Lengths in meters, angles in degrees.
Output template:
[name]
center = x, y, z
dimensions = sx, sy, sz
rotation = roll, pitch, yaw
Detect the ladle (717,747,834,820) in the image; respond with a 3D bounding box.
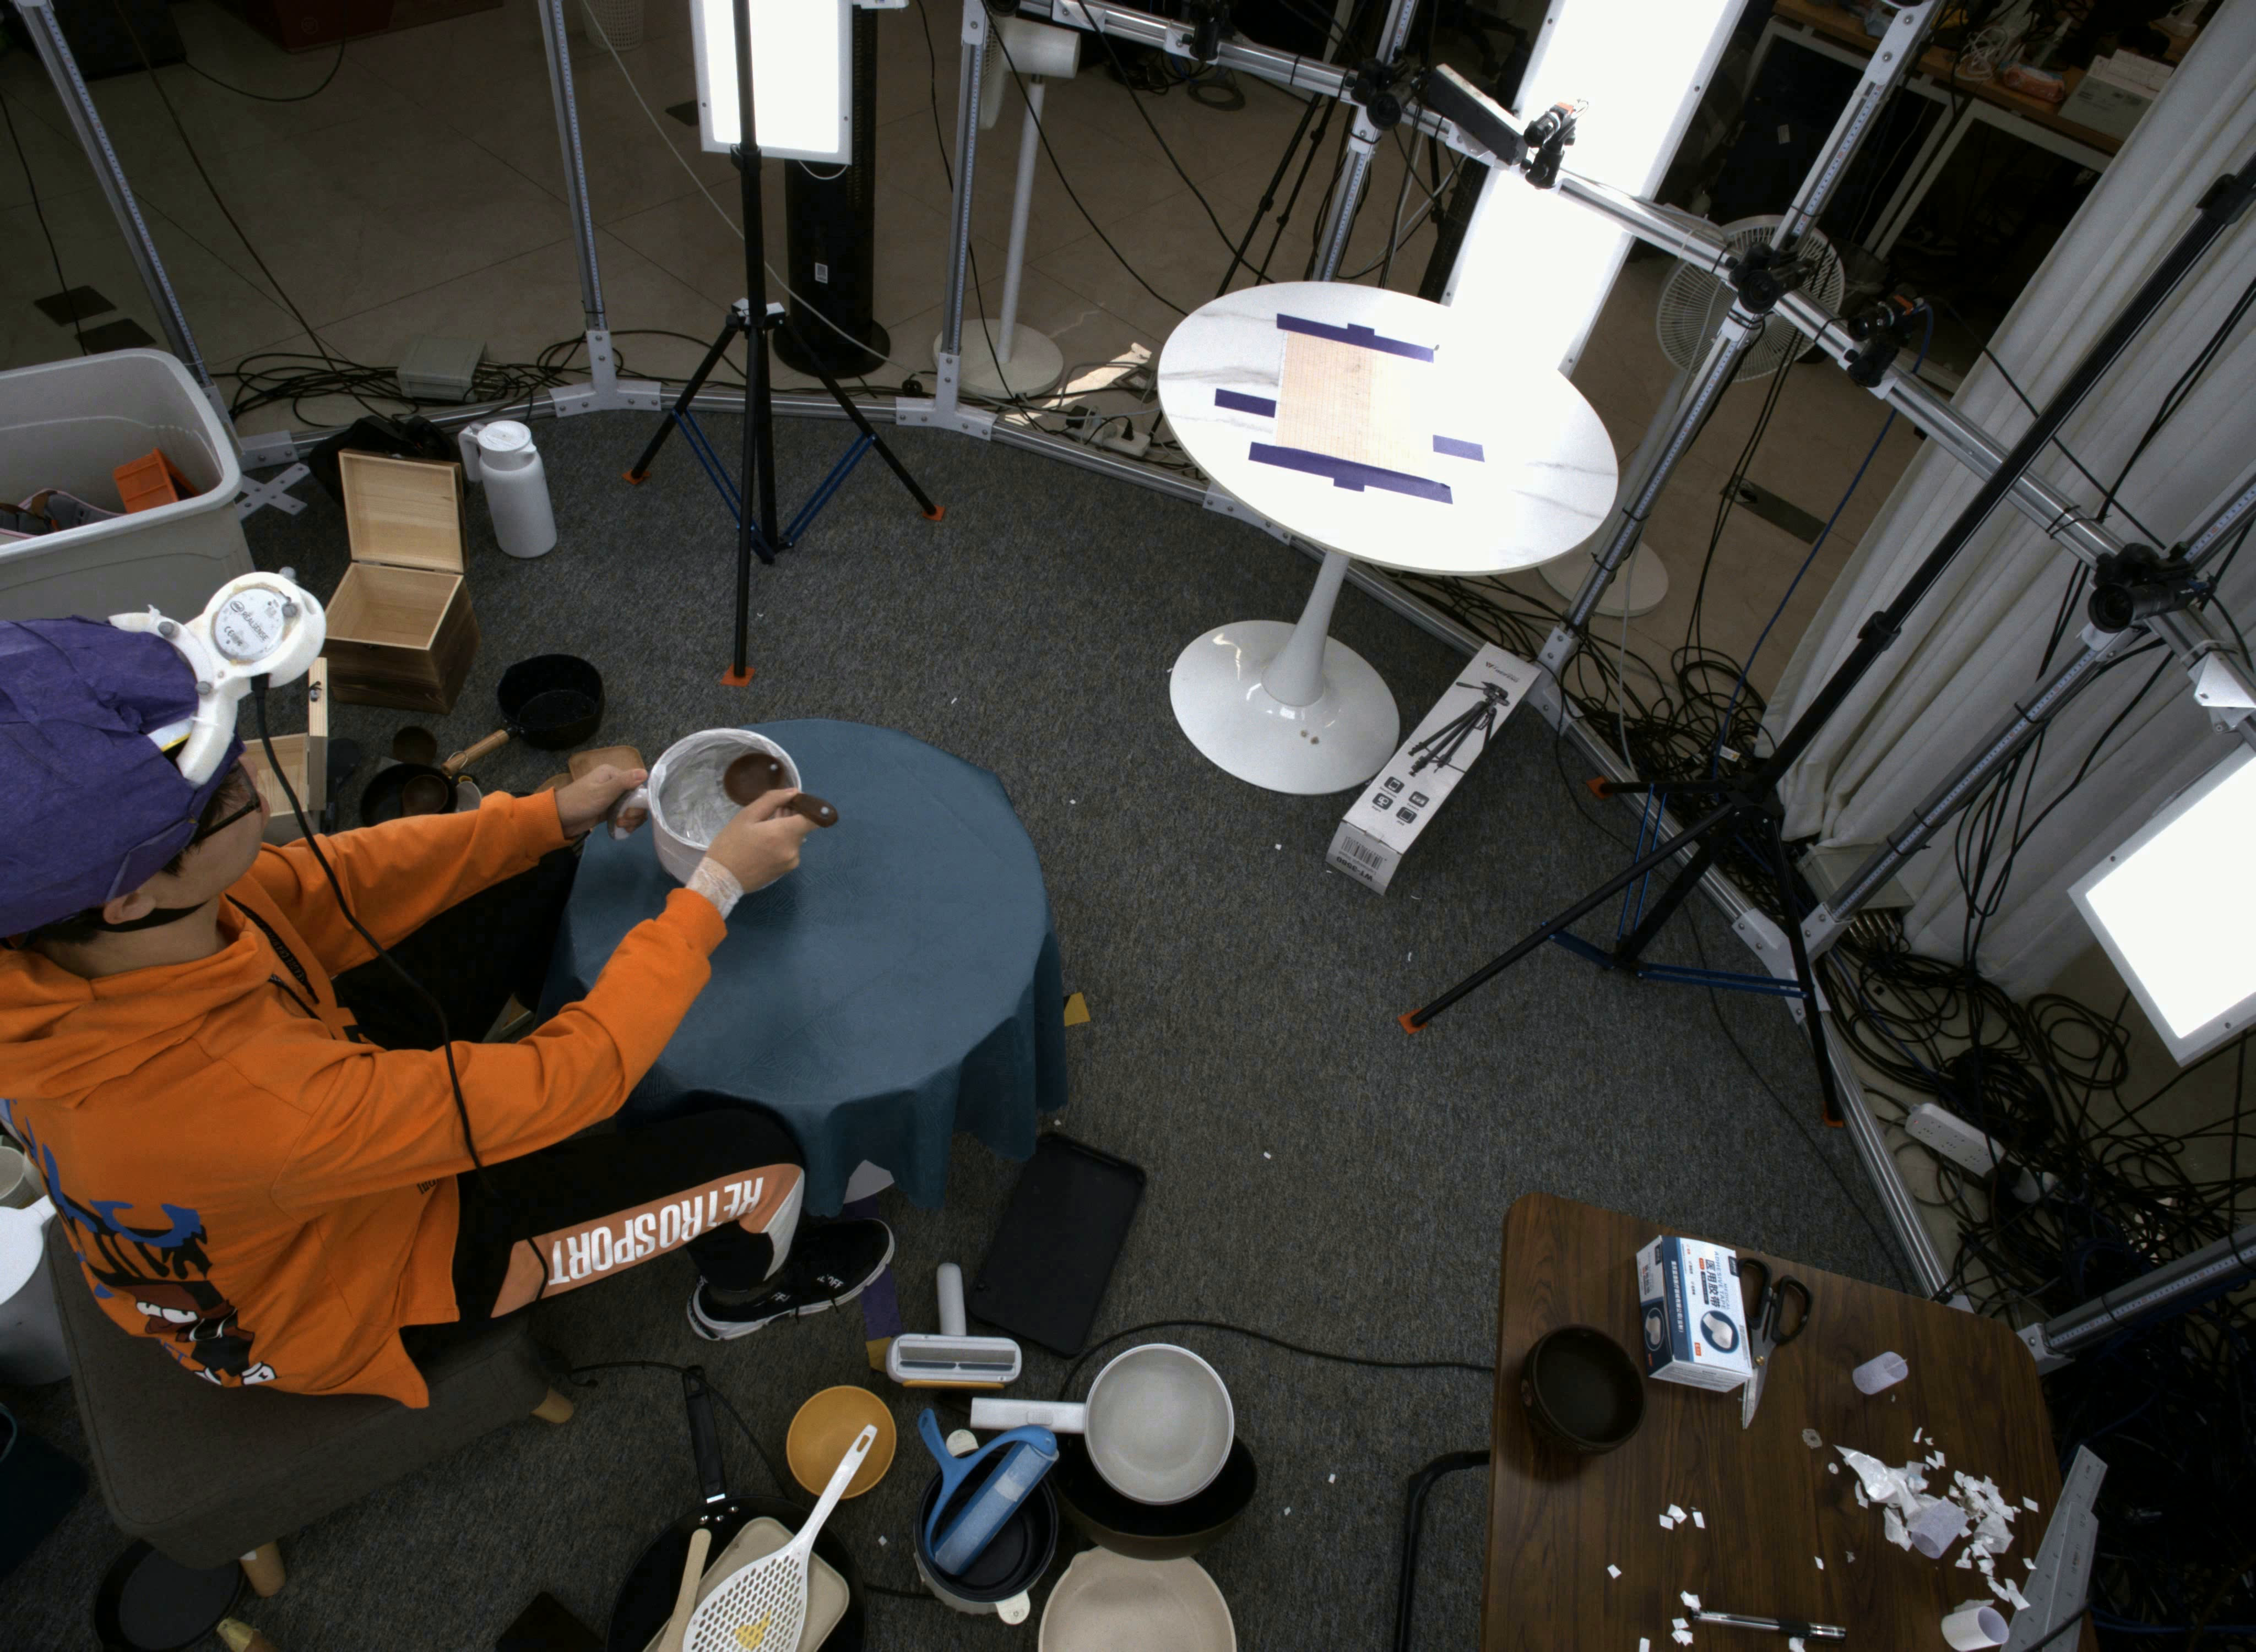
[ladle]
center = -0.394, -0.048, 1.443
dimensions = 0.076, 0.252, 0.067
rotation = -43, 116, -21

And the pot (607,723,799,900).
[pot]
center = -0.513, -0.015, 1.550
dimensions = 0.234, 0.139, 0.175
rotation = 3, 57, -14
